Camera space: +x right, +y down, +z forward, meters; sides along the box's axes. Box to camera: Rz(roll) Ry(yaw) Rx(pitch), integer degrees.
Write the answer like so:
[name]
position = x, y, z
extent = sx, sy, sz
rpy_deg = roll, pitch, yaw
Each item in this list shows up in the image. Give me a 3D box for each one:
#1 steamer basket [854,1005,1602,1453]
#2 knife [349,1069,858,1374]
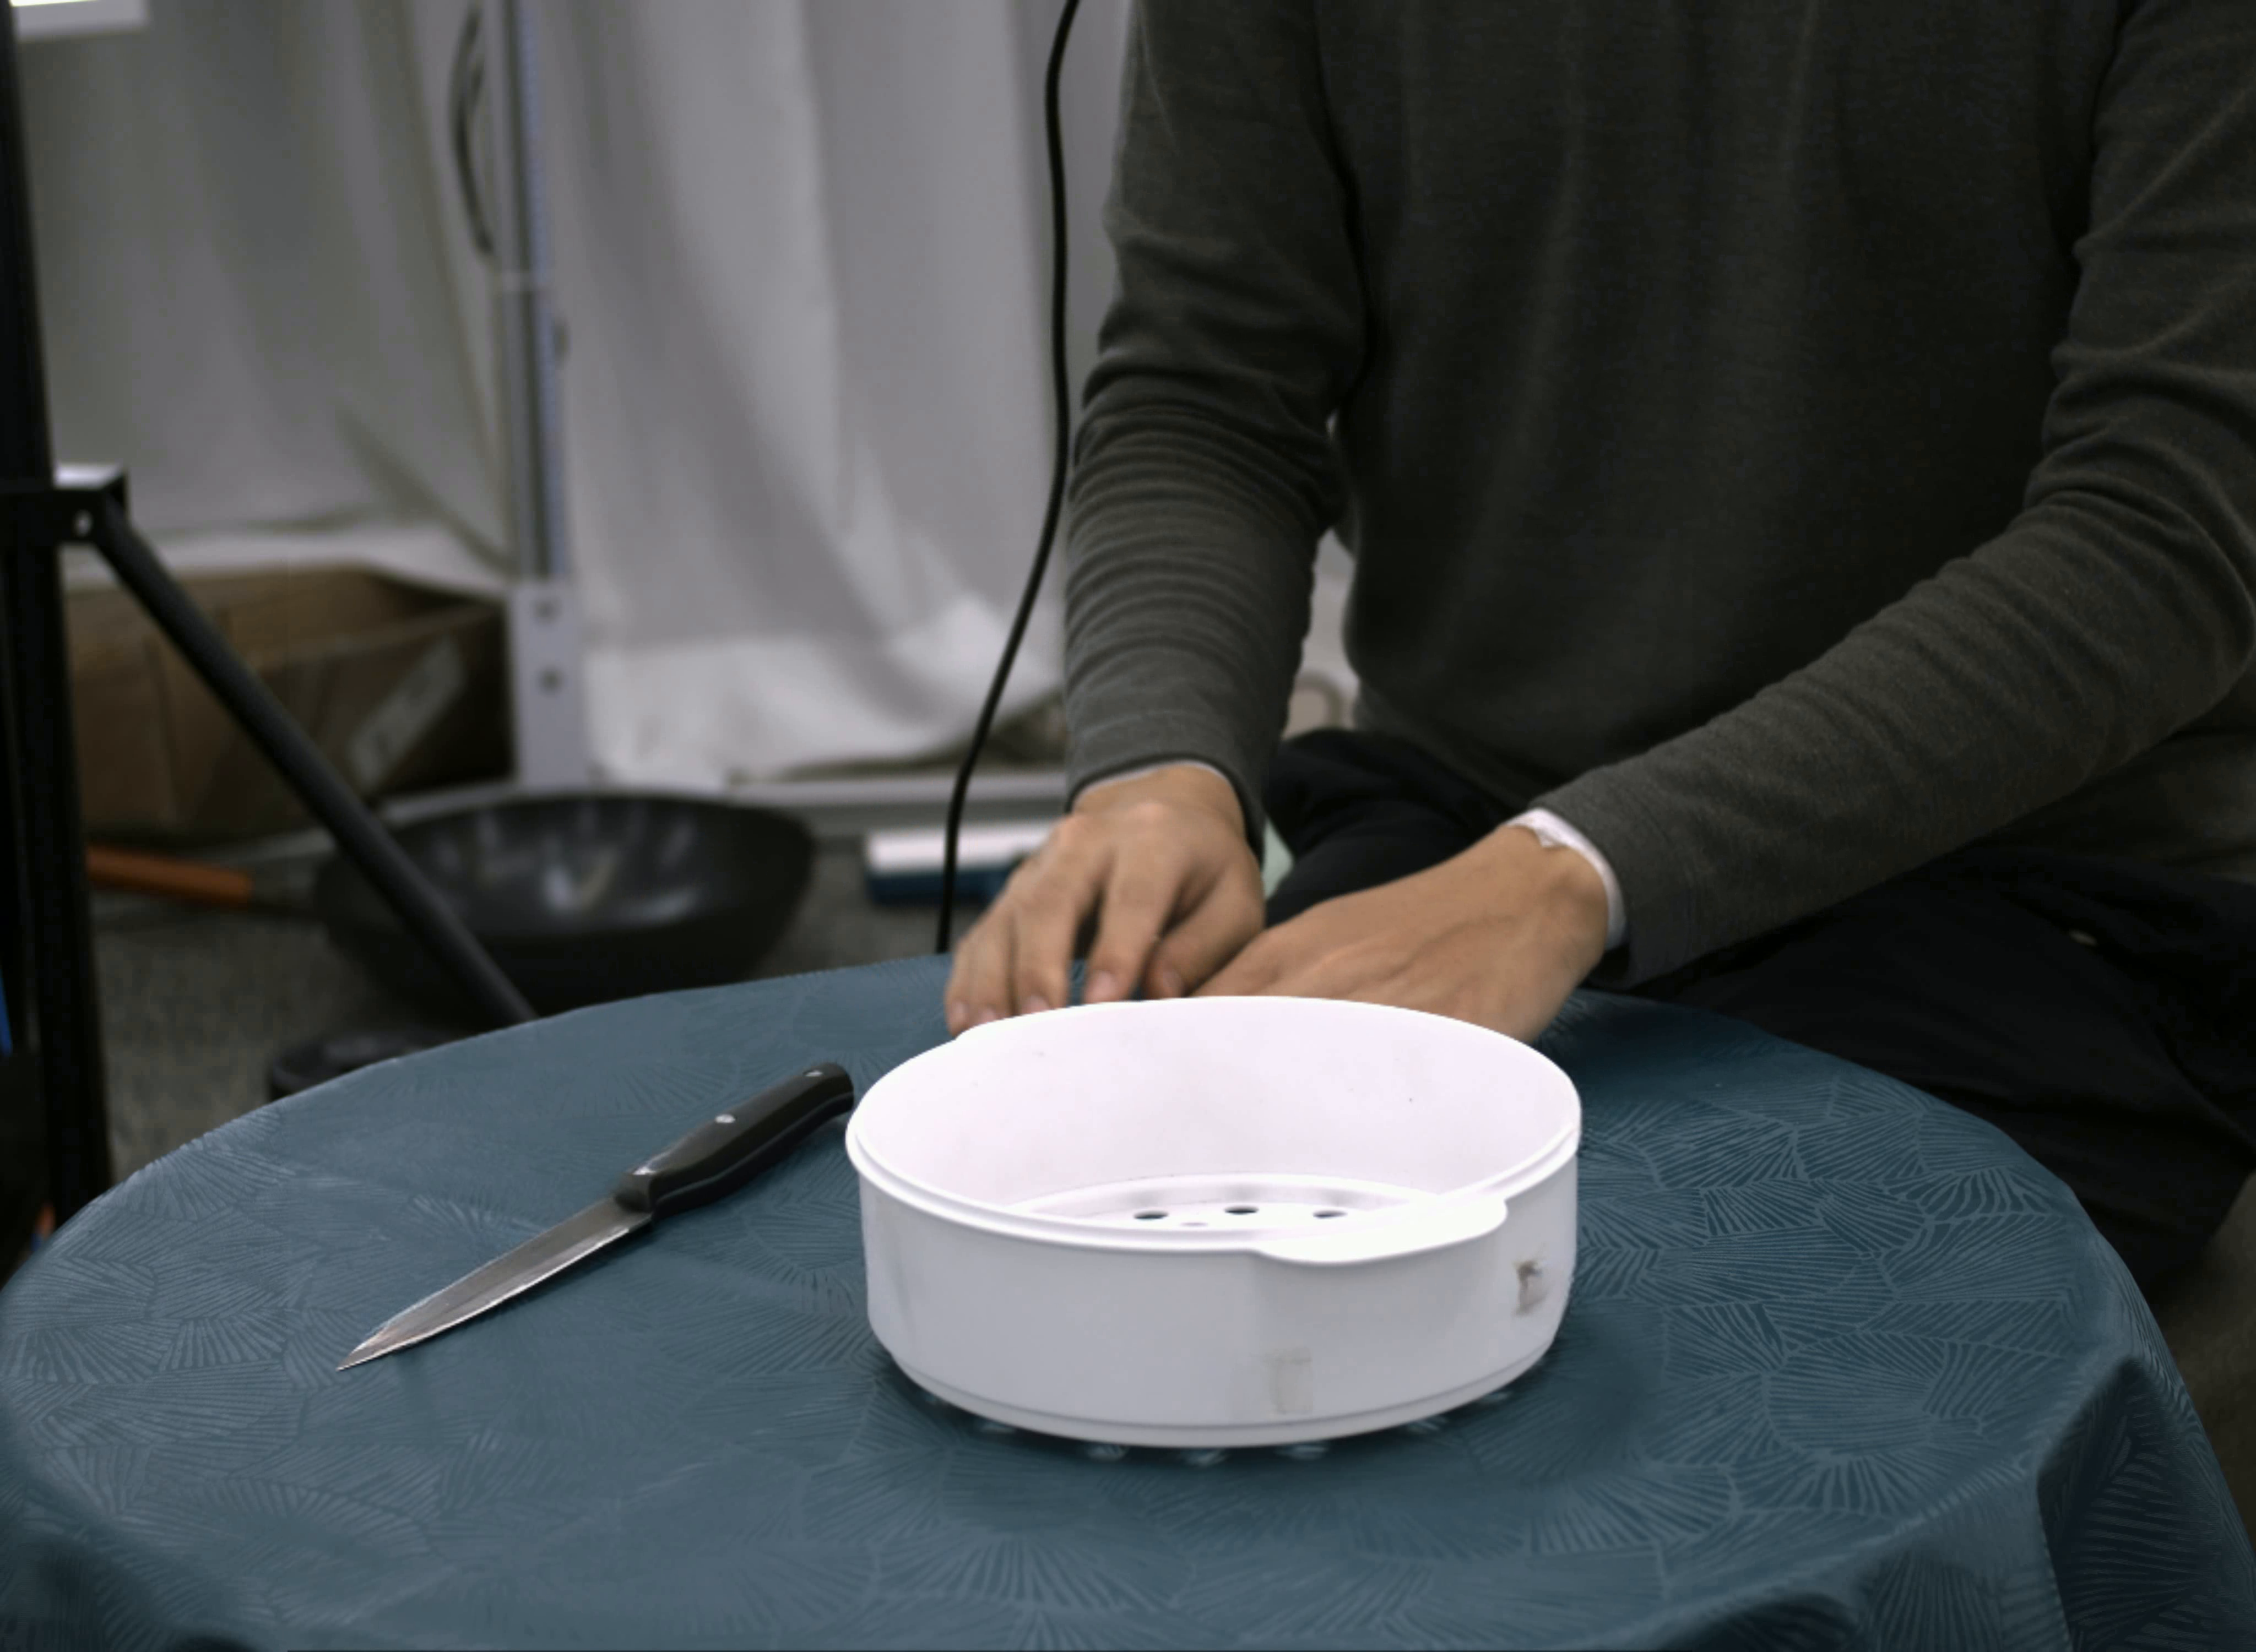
[steamer basket]
position = 0.028, 0.108, 1.433
extent = 0.198, 0.069, 0.235
rpy_deg = -8, 16, -22
[knife]
position = -0.151, 0.114, 1.543
extent = 0.025, 0.016, 0.234
rpy_deg = 7, 21, 32
